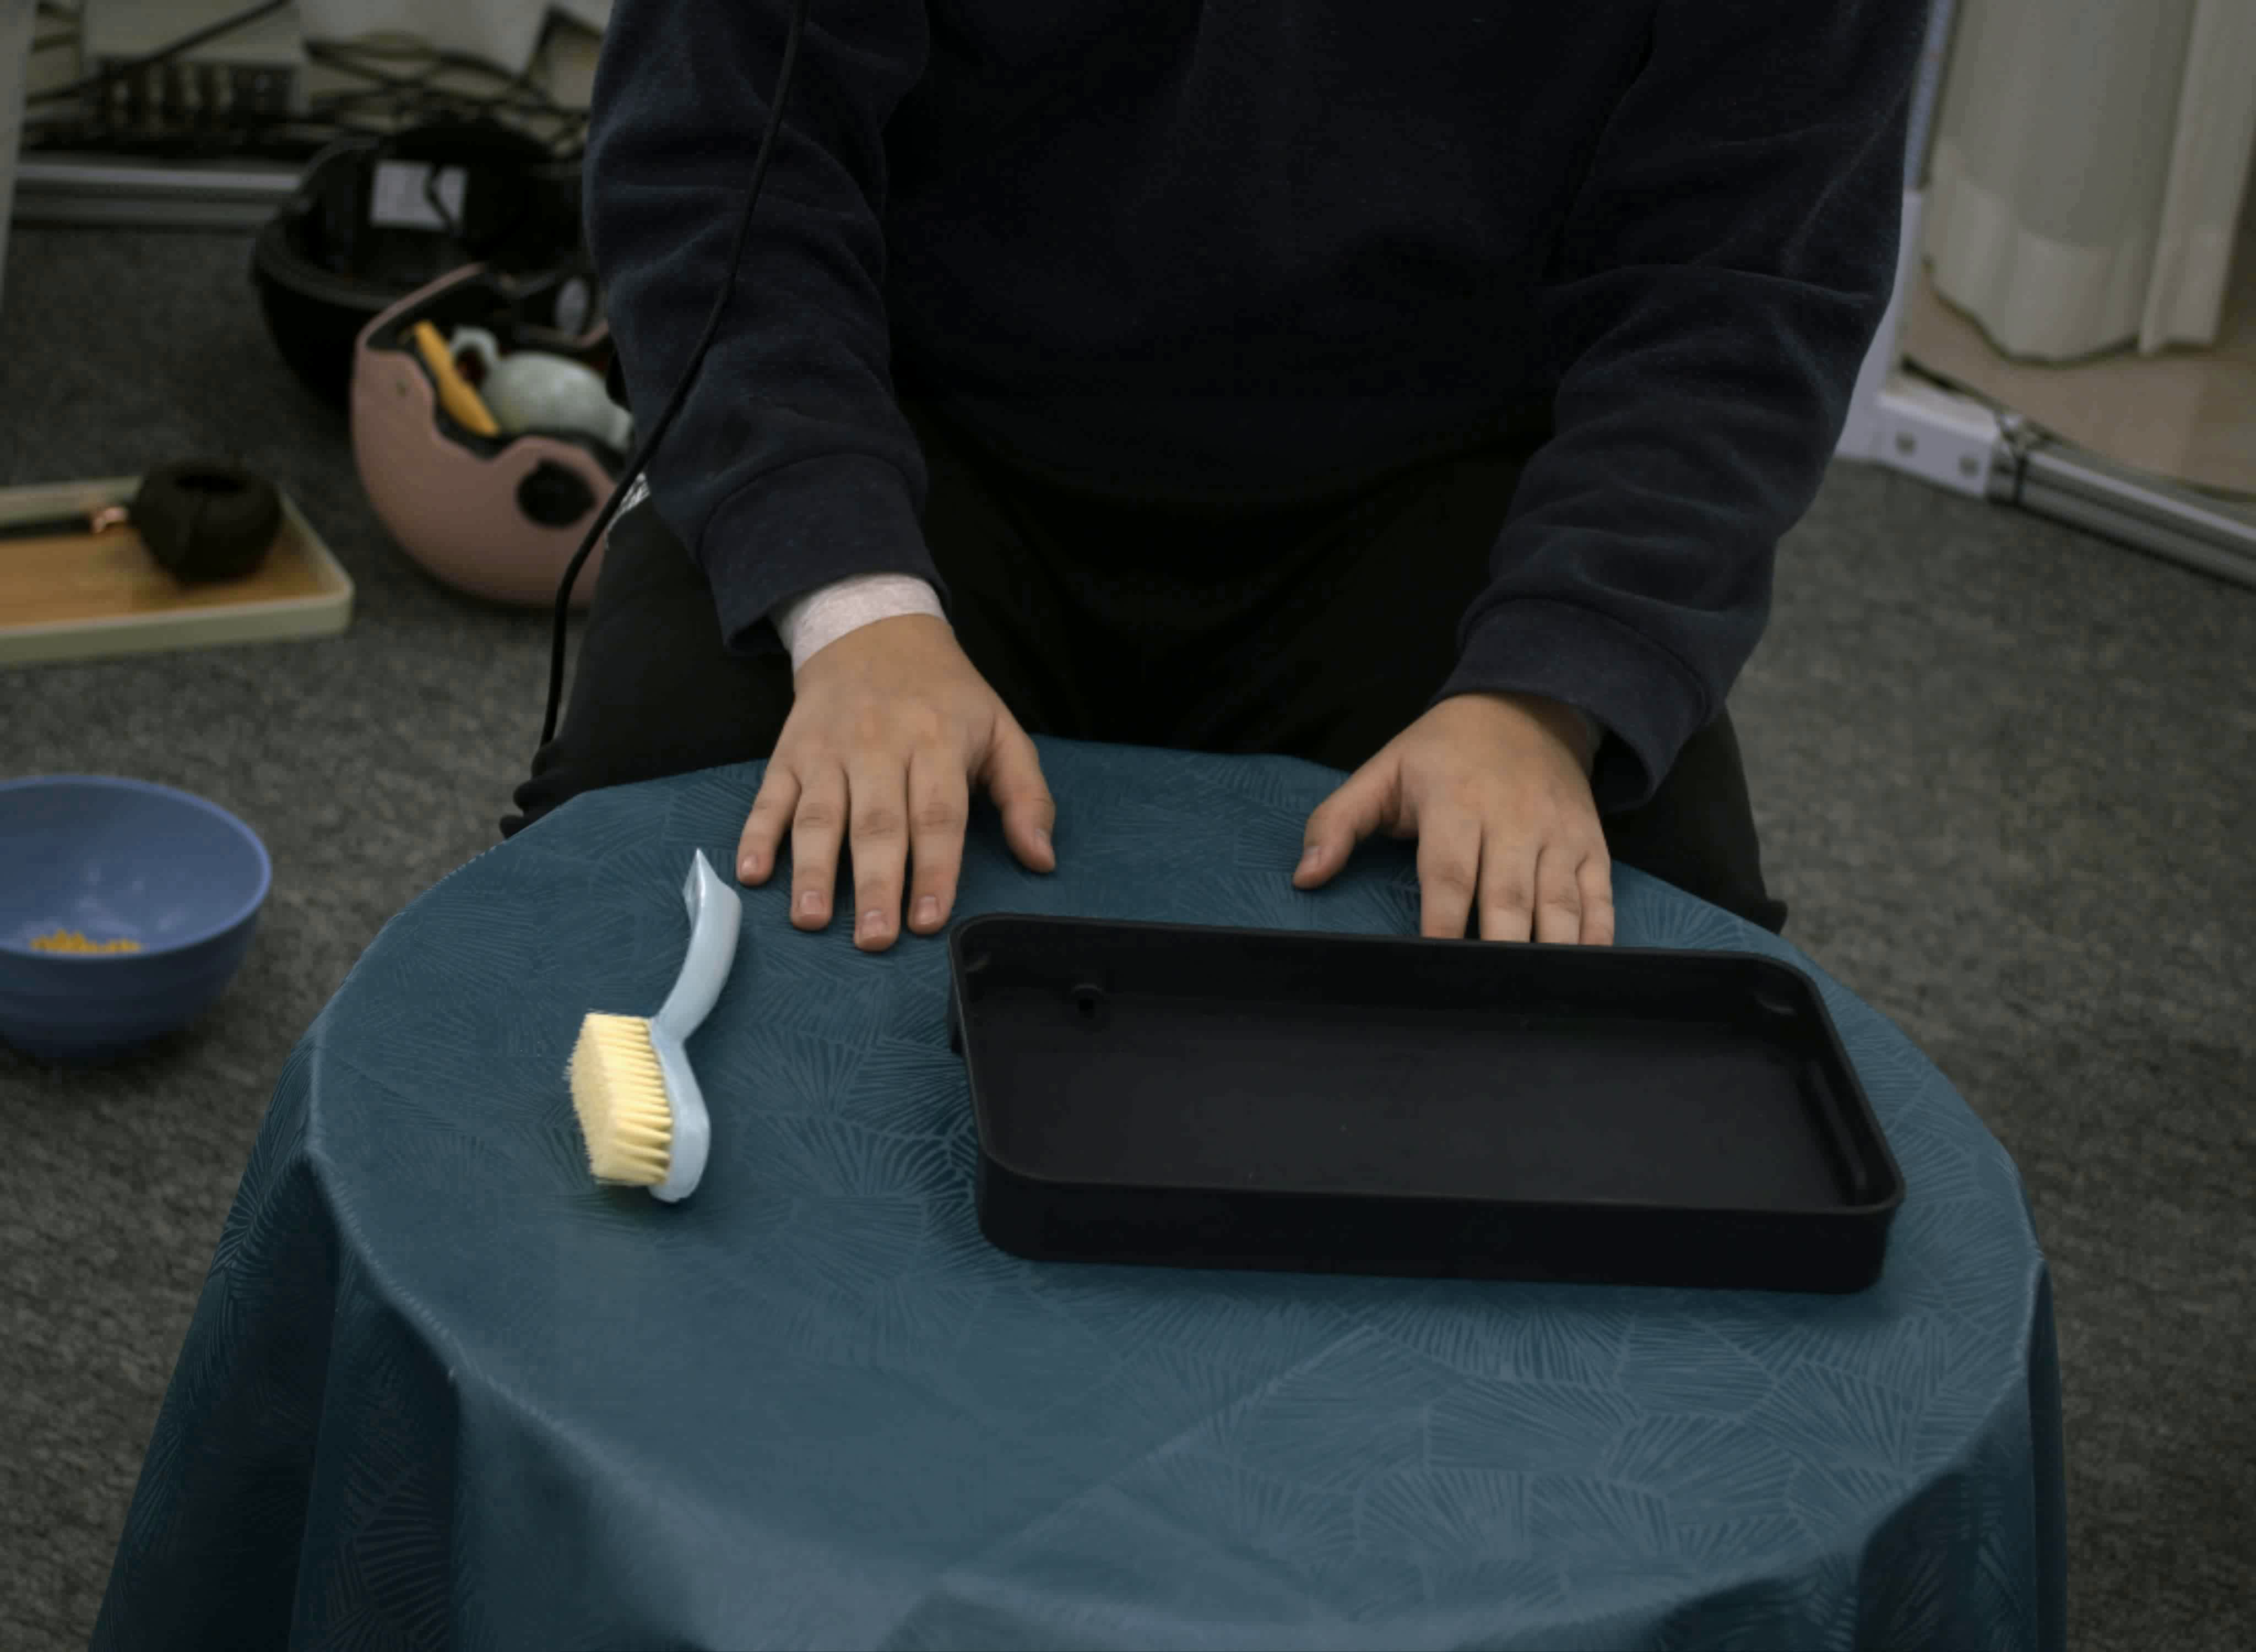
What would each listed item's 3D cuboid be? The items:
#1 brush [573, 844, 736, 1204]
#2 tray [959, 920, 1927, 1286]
[{"bbox_3d":[-0.164,0.062,1.849,0.049,0.038,0.230,16,25,-7],"label":"brush"},{"bbox_3d":[0.104,0.095,1.847,0.316,0.037,0.185,2,26,-9],"label":"tray"}]
